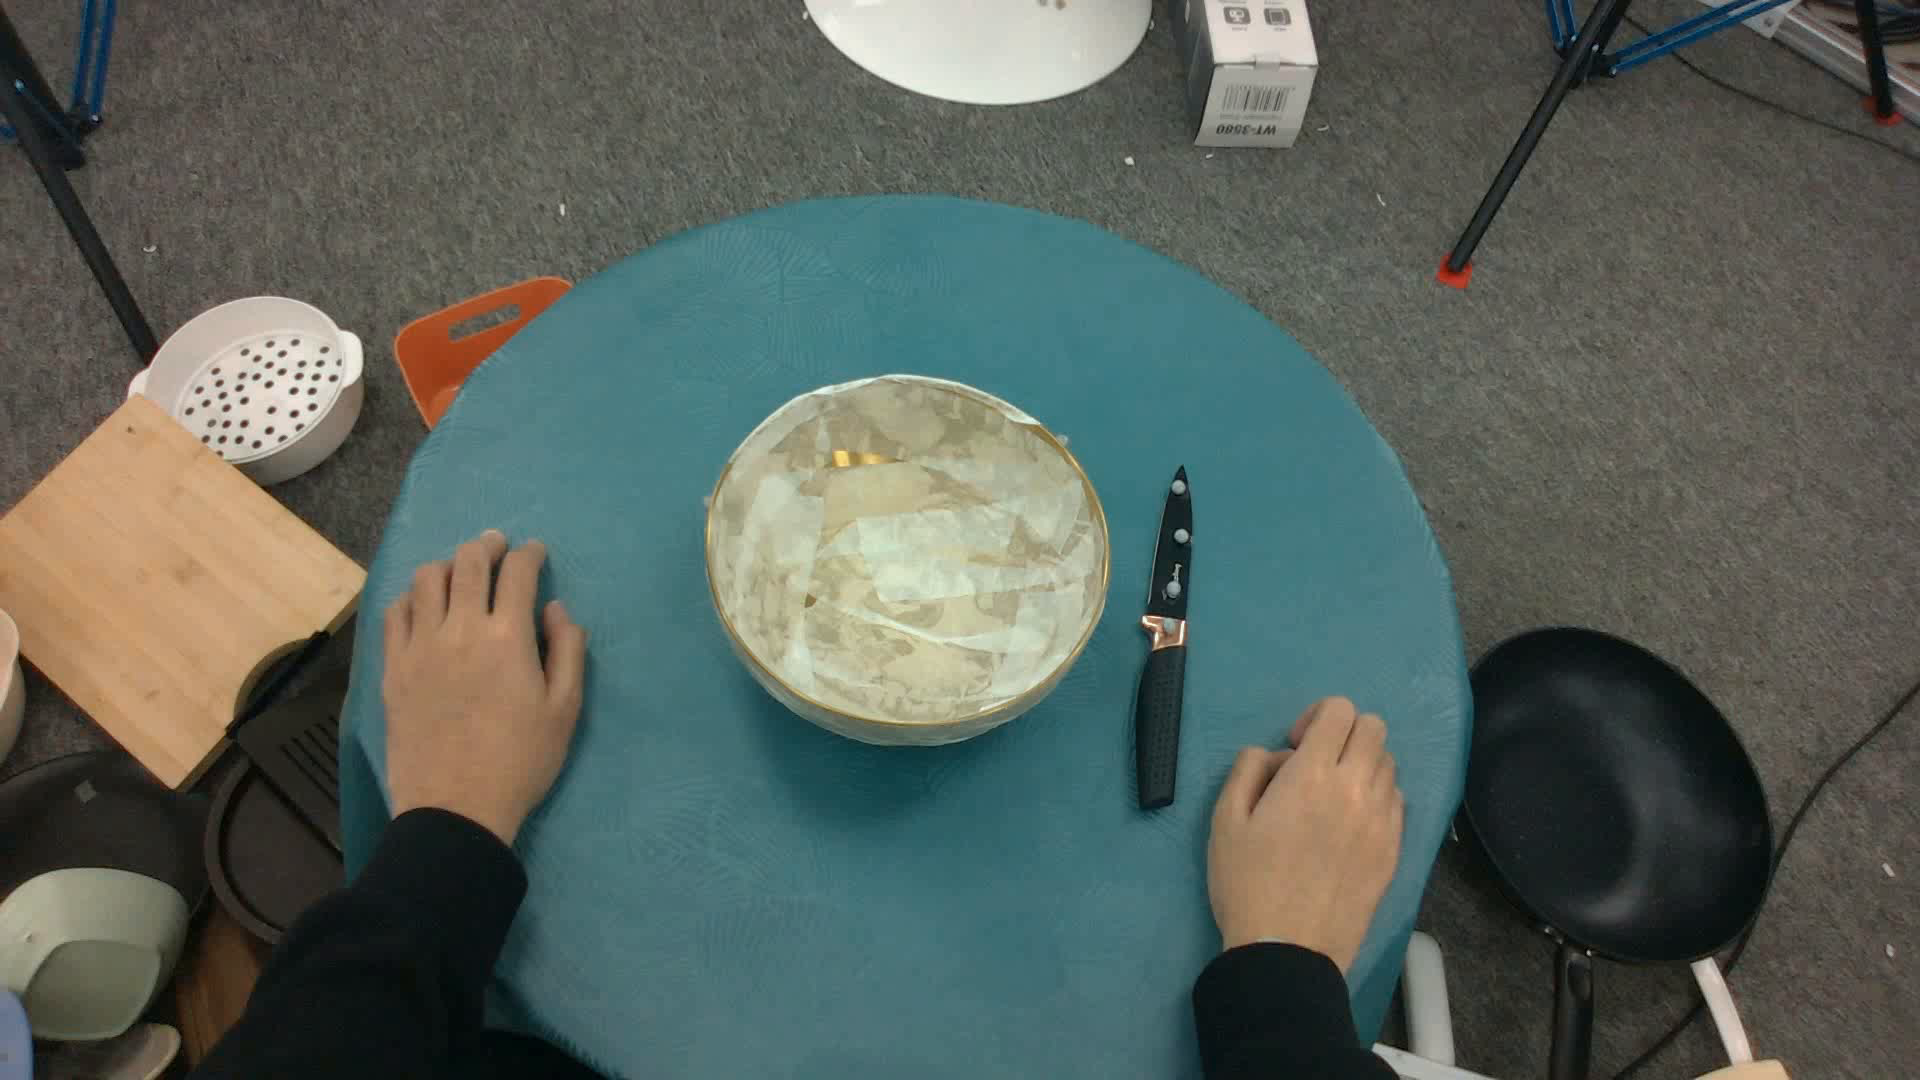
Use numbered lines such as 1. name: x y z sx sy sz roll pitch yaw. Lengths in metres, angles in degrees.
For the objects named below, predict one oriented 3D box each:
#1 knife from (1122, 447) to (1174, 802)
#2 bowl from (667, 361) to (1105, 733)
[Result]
1. knife: 0.105 0.038 0.759 0.026 0.017 0.226 5 56 5
2. bowl: -0.037 0.018 0.703 0.215 0.094 0.215 4 57 -7
